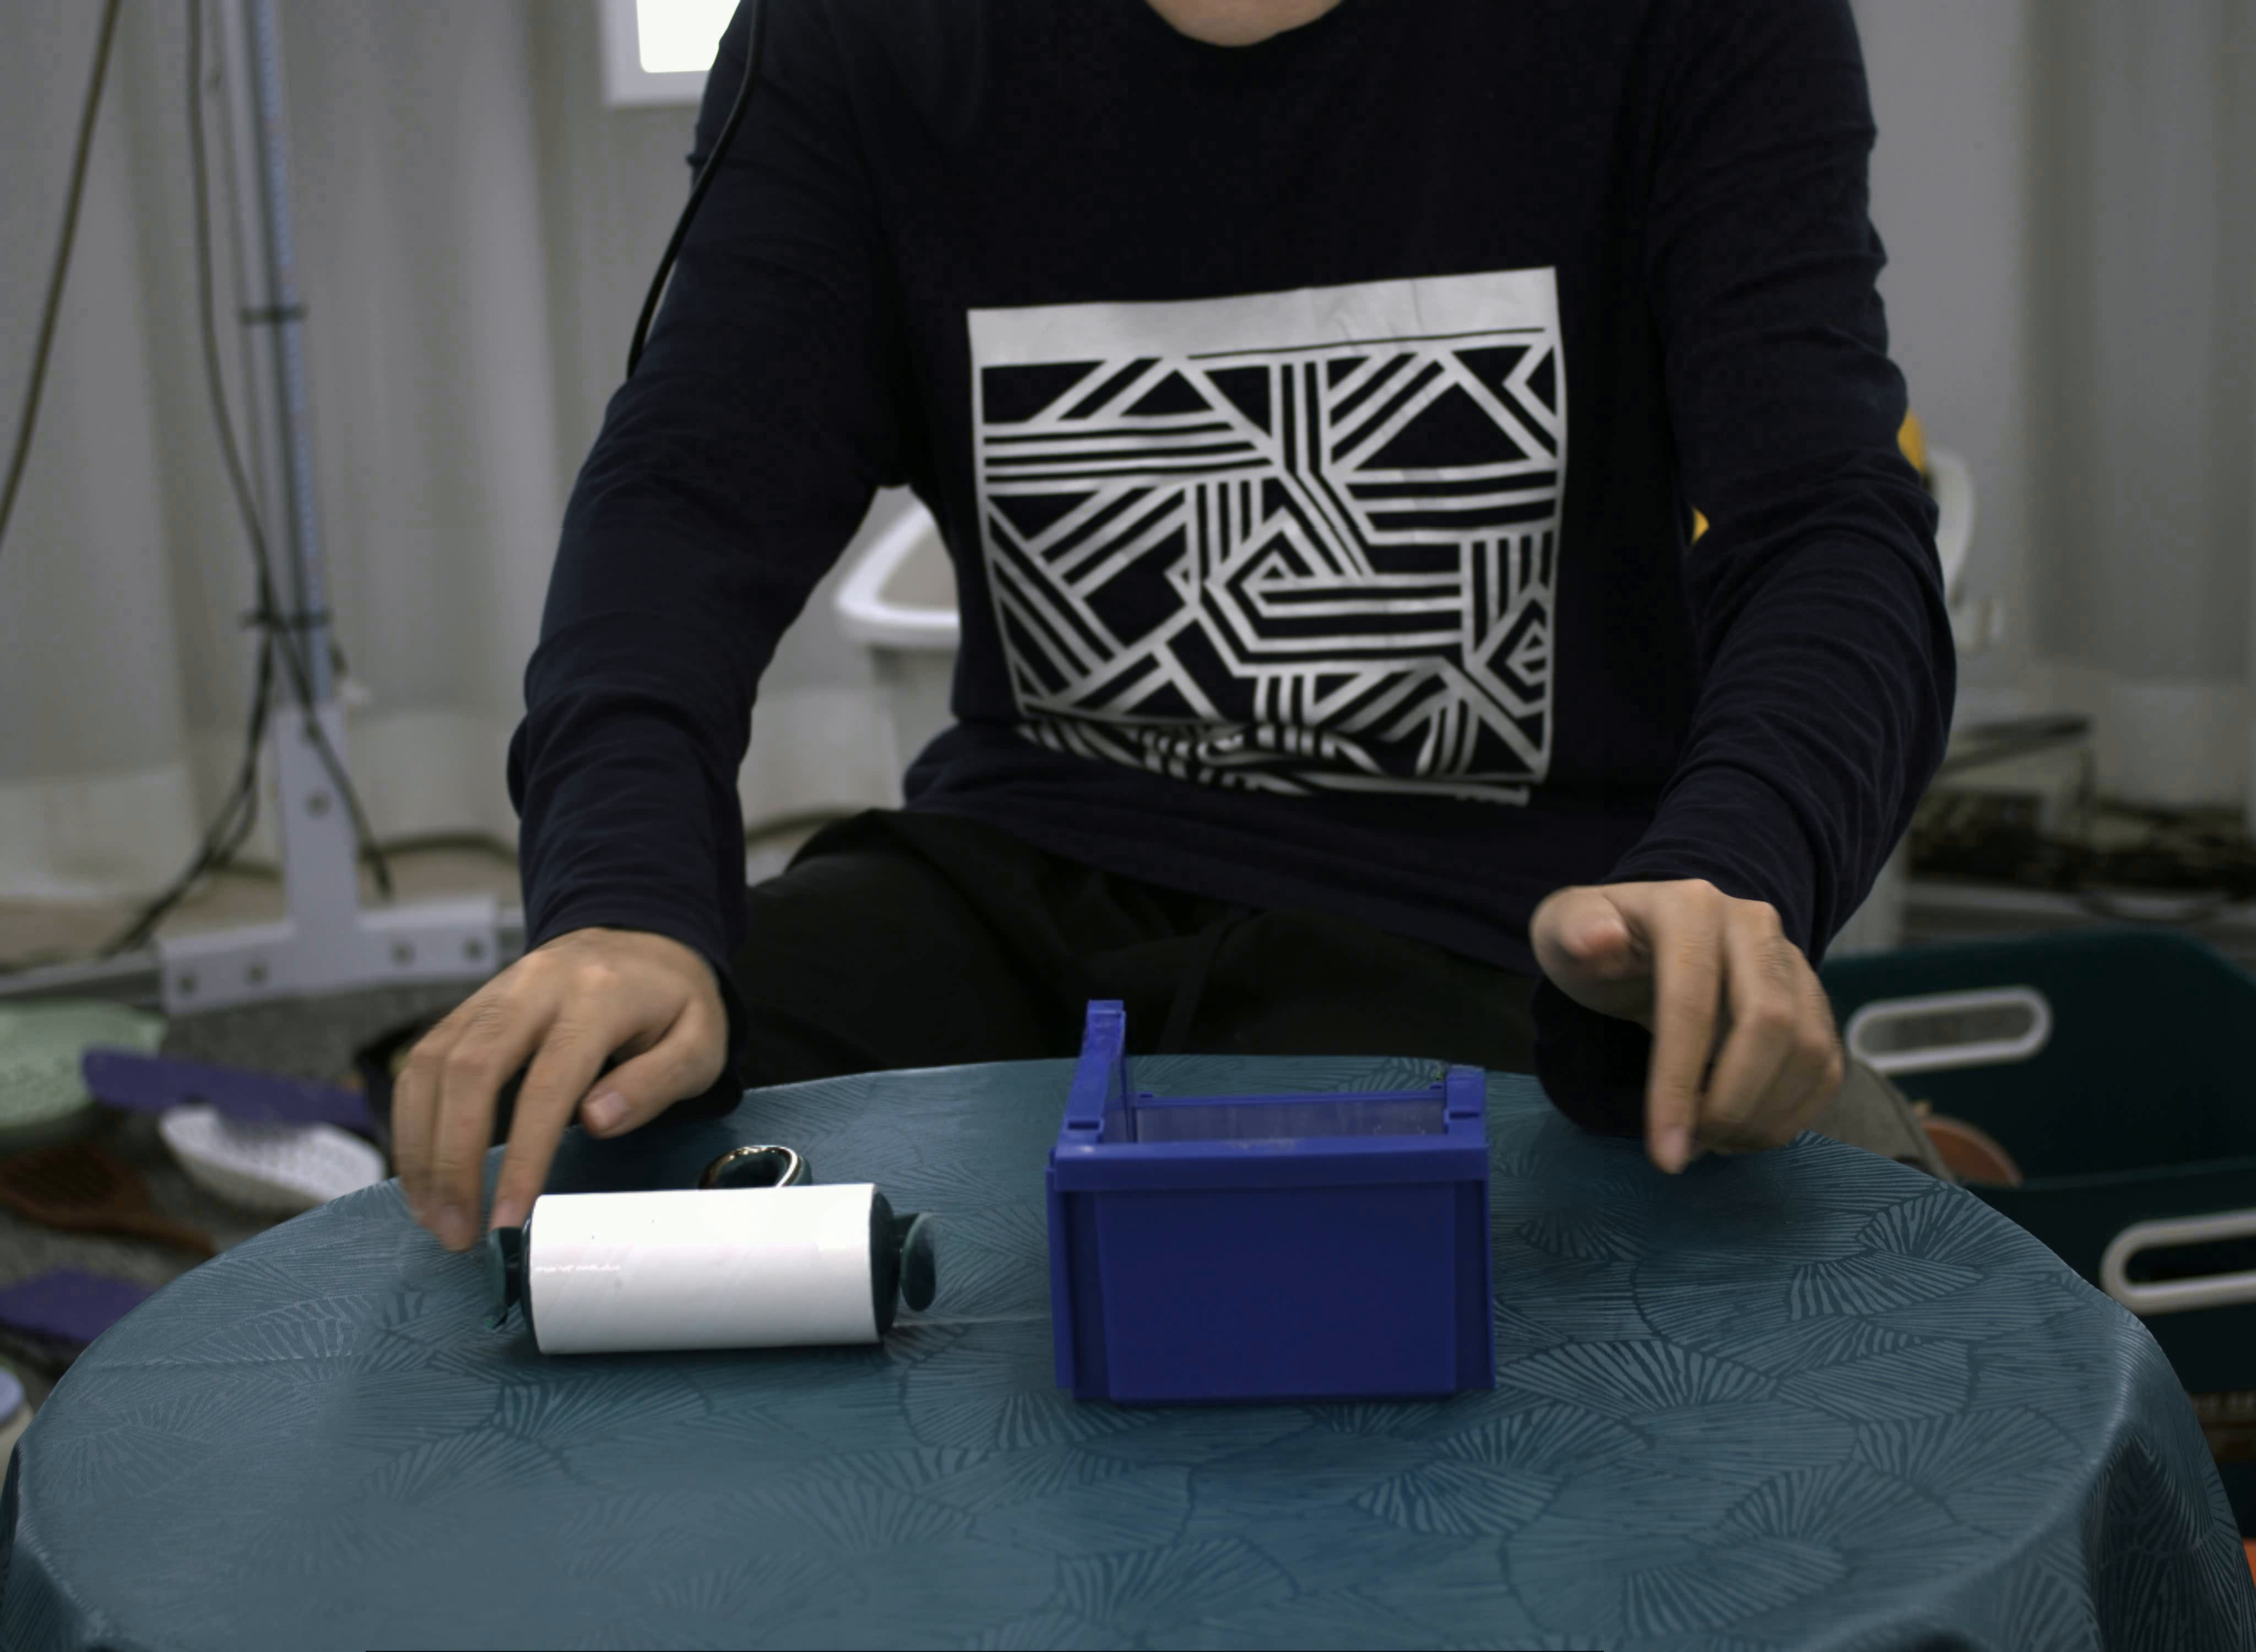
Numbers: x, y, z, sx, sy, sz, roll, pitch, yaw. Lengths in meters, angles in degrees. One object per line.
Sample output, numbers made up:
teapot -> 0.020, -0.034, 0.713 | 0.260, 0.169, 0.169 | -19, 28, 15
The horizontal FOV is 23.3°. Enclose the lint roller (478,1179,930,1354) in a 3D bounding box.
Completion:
lint roller -> -0.121, 0.117, 1.660 | 0.134, 0.048, 0.181 | -3, 10, 3

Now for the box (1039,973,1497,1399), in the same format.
box -> 0.044, 0.101, 1.602 | 0.124, 0.081, 0.180 | -3, 17, 6
